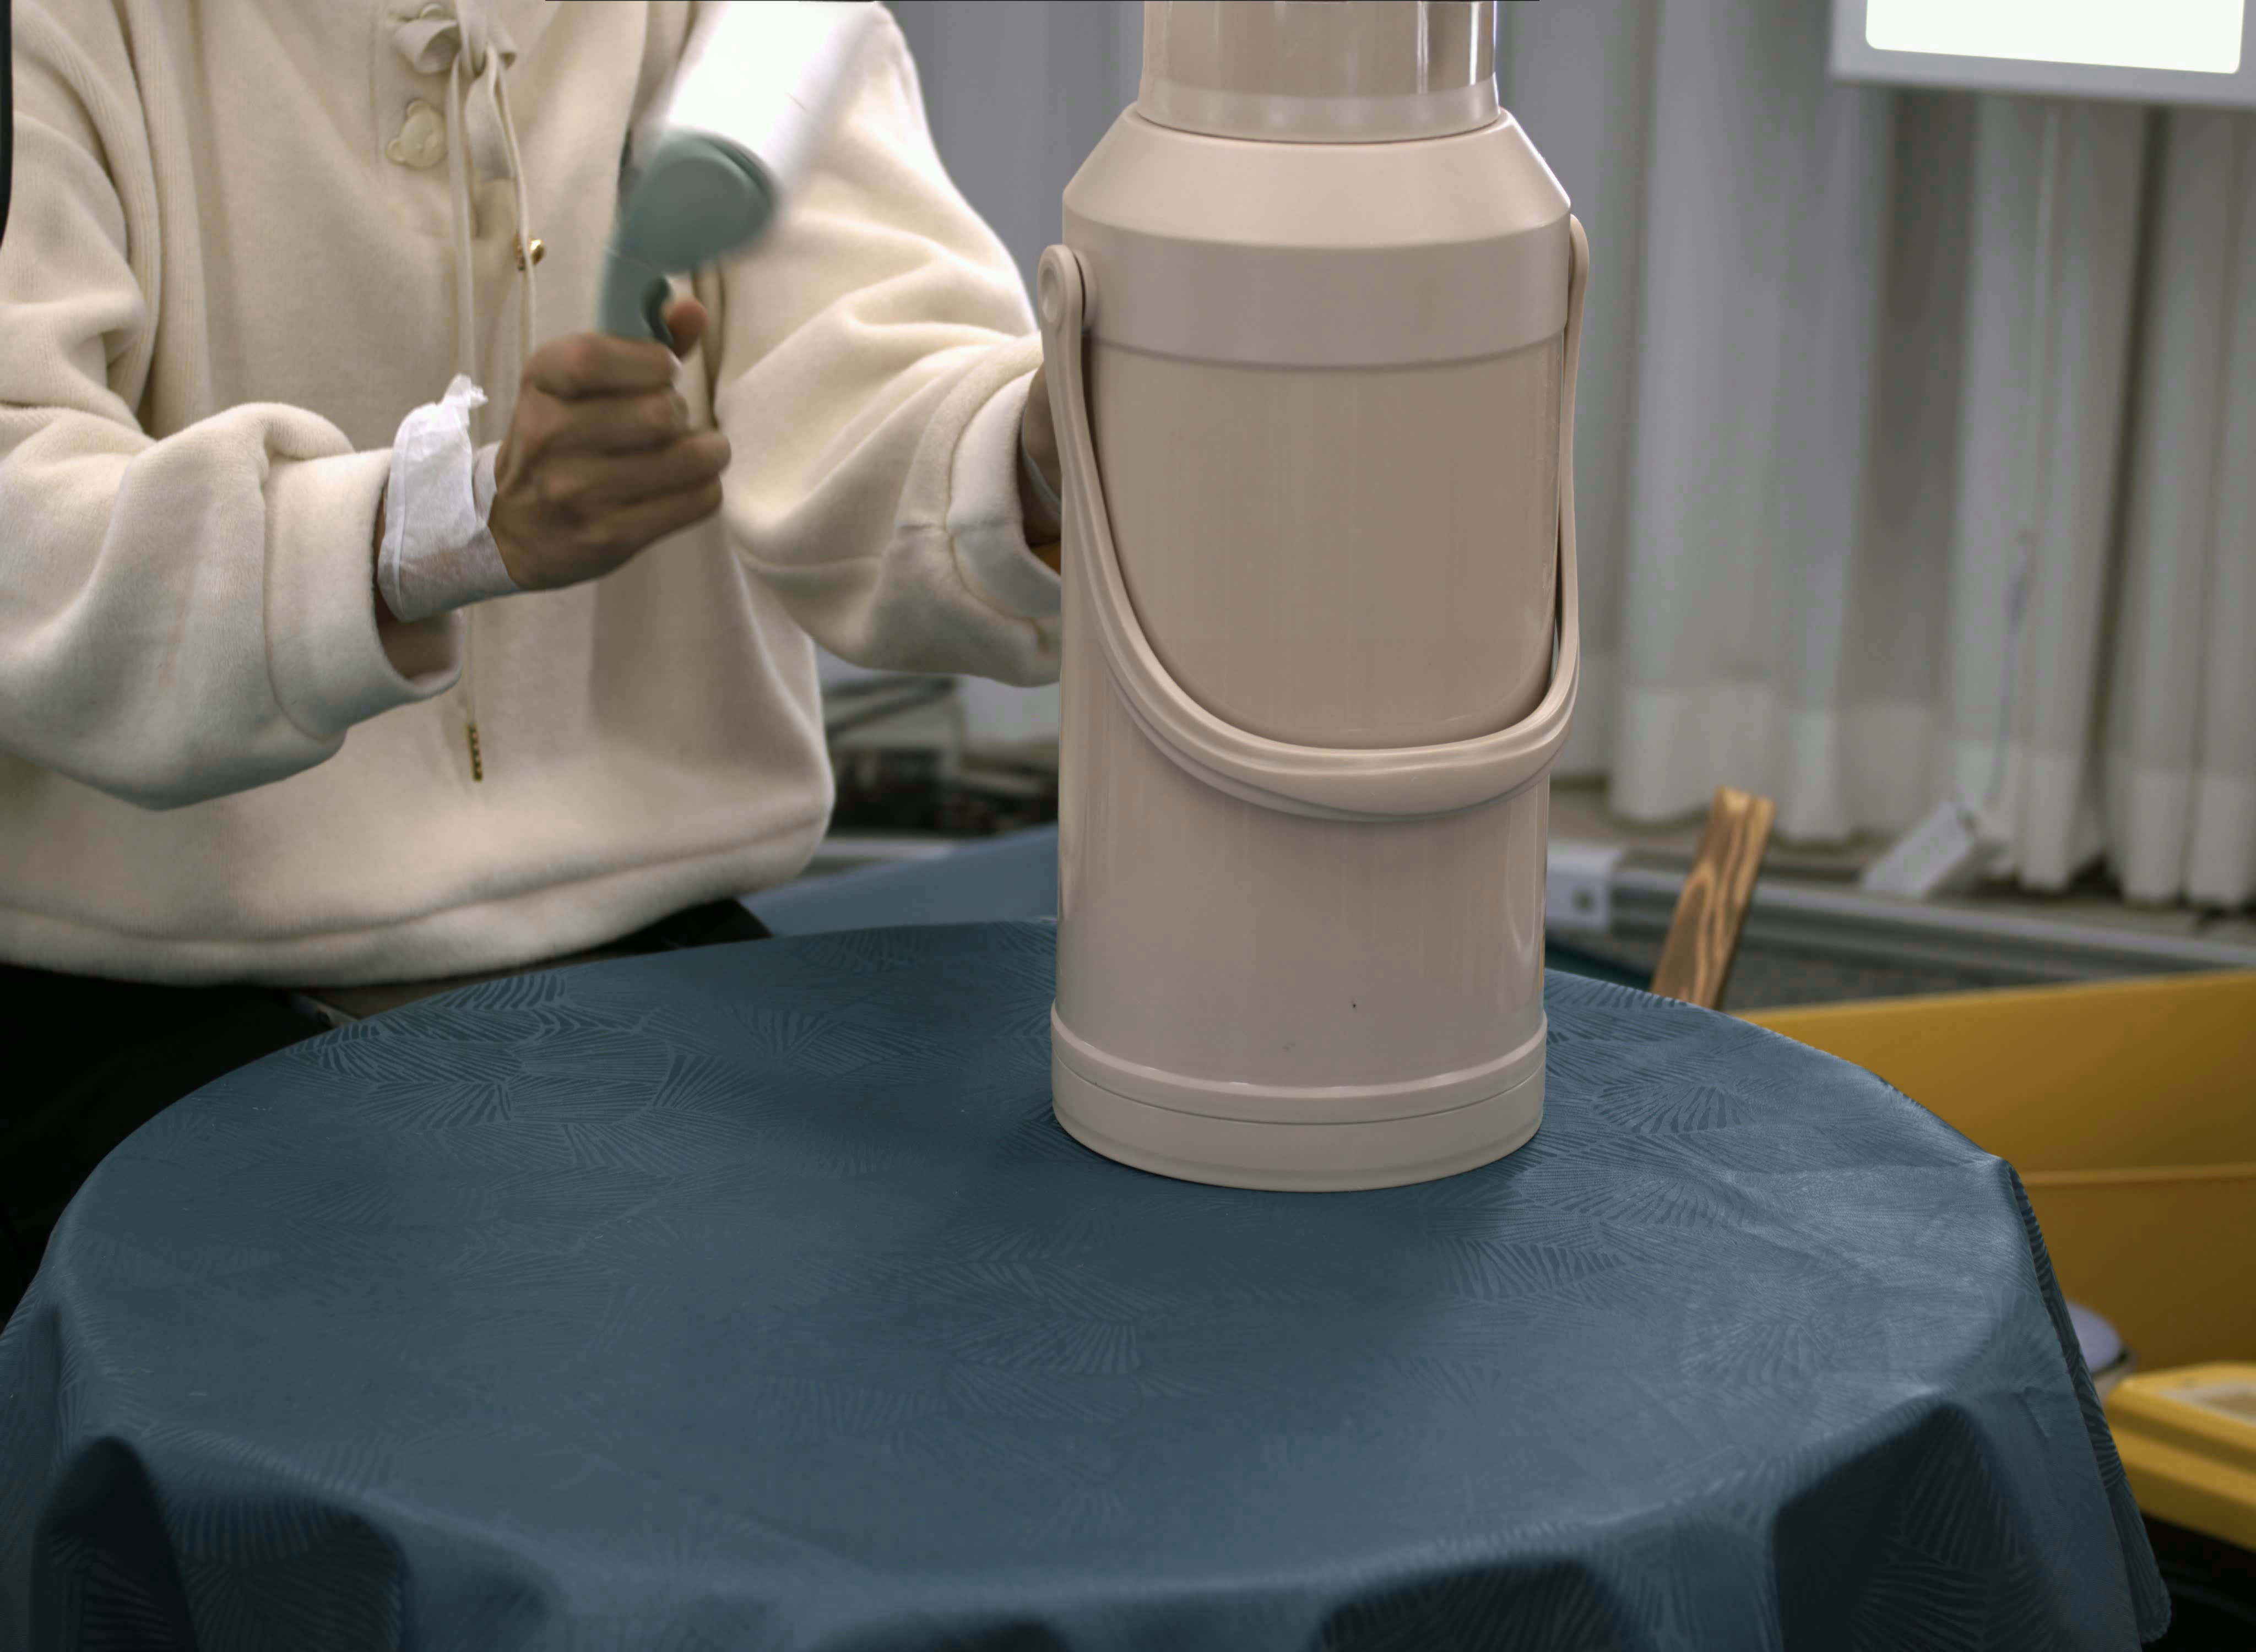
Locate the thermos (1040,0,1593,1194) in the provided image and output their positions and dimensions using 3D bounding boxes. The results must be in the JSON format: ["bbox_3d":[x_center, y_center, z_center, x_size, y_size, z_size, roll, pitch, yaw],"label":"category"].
[{"bbox_3d":[0.053,-0.103,1.648,0.176,0.410,0.204,-7,18,-21],"label":"thermos"}]

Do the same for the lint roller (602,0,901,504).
[{"bbox_3d":[-0.131,-0.176,1.619,0.048,0.198,0.116,26,45,-9],"label":"lint roller"}]
